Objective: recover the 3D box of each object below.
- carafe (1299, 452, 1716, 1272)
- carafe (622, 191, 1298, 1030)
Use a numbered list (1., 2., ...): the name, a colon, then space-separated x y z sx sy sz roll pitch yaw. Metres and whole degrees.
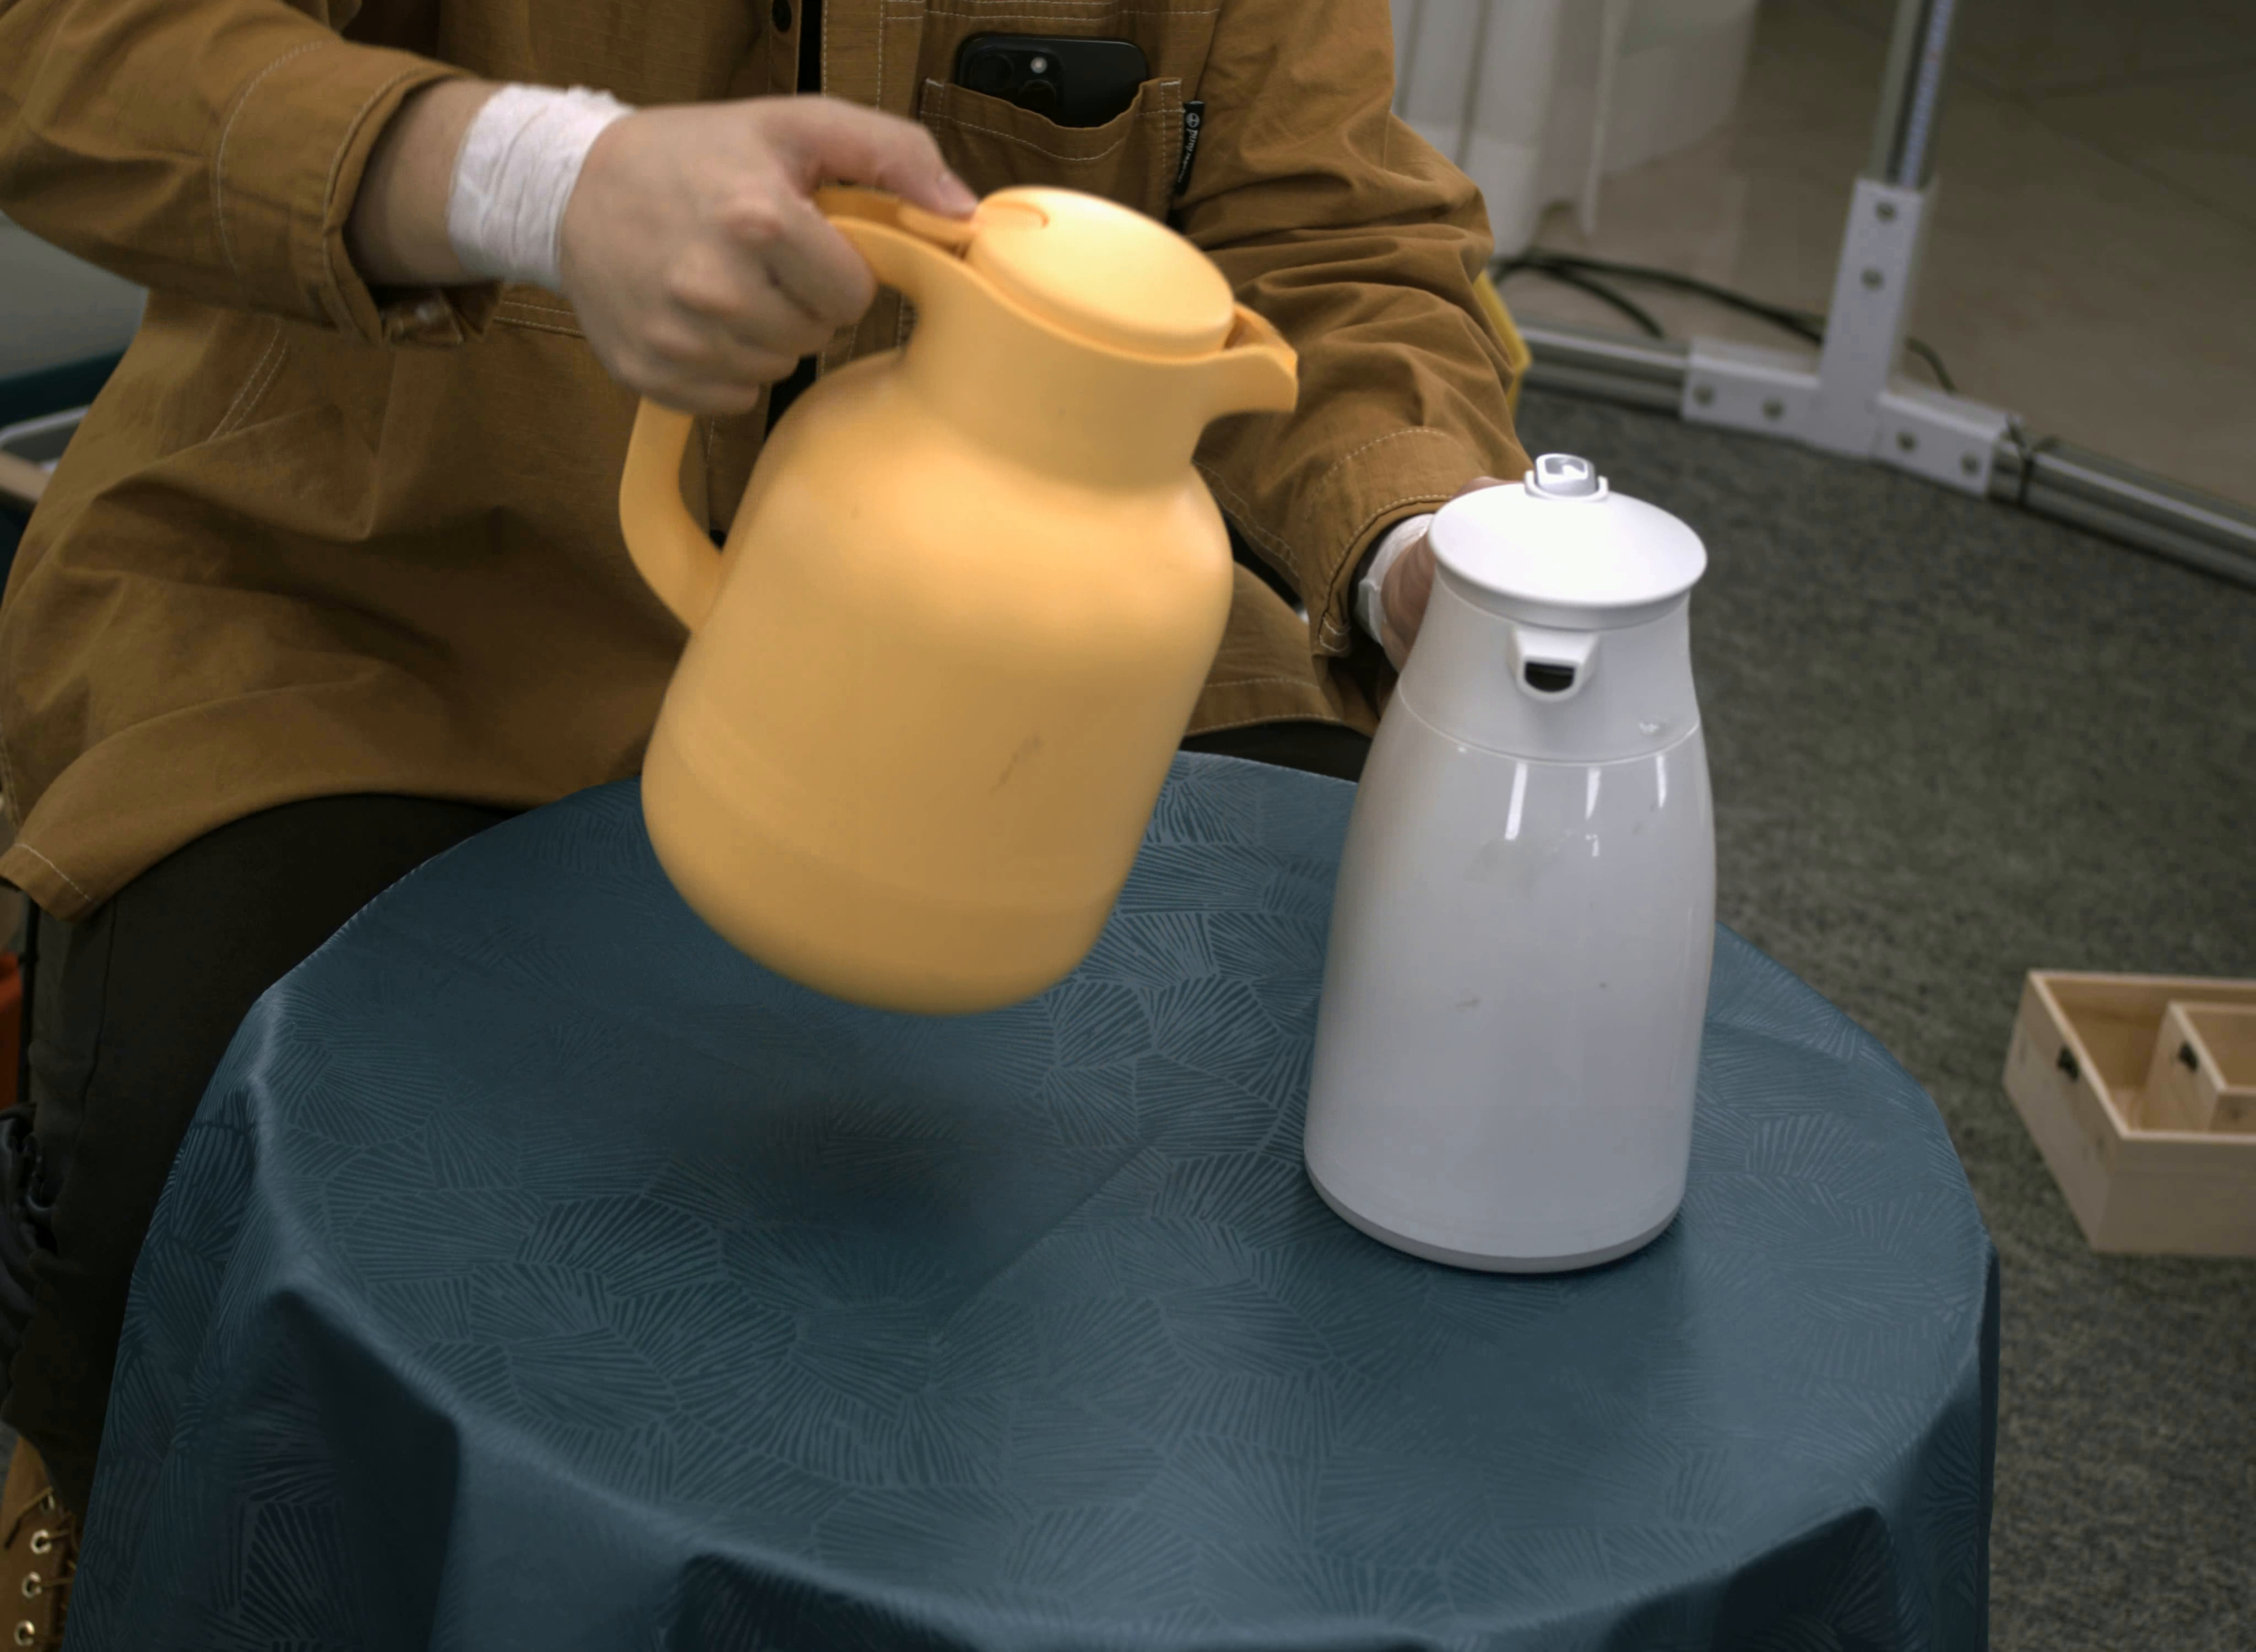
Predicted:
1. carafe: 0.135 0.001 1.796 0.132 0.248 0.168 7 26 4
2. carafe: -0.068 -0.080 1.714 0.201 0.260 0.164 20 25 -6
